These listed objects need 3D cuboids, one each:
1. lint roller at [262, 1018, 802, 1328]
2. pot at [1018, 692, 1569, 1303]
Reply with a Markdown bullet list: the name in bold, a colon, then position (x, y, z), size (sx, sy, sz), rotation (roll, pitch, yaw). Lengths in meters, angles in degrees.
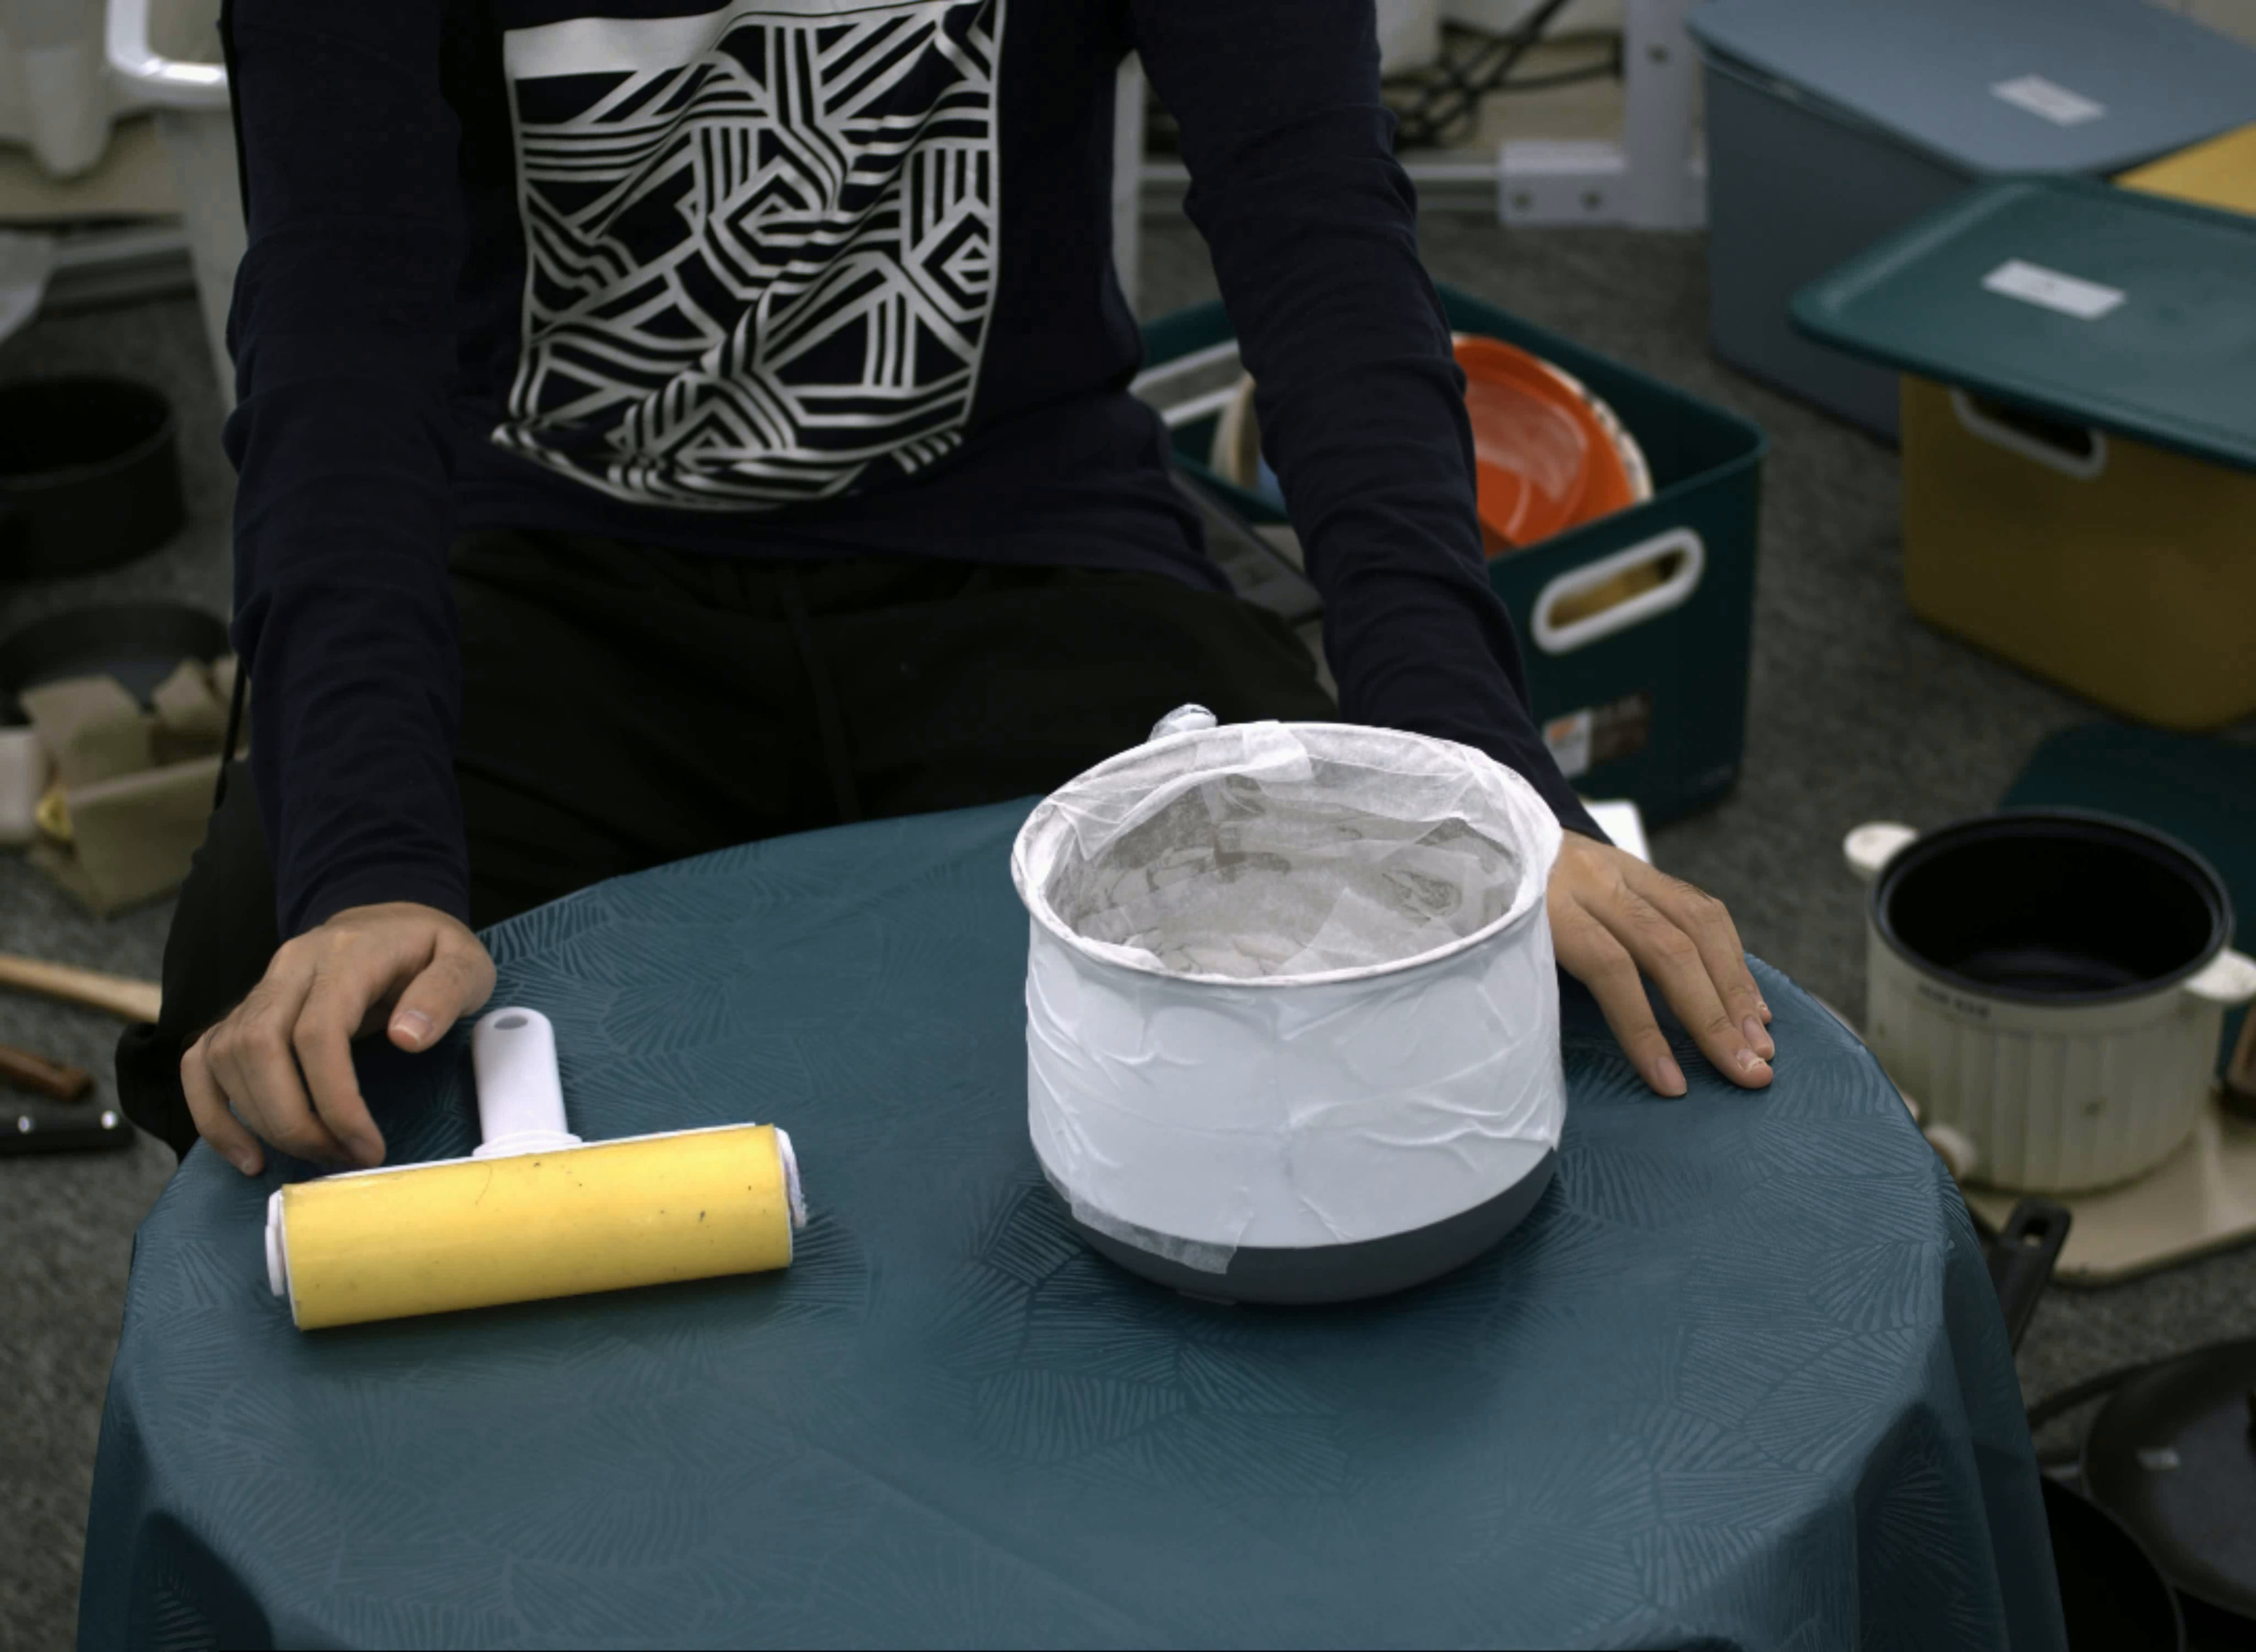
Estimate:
- **lint roller**: position (-0.205, 0.098, 1.875), size (0.174, 0.051, 0.194), rotation (-7, 29, -9)
- **pot**: position (0.044, 0.048, 1.847), size (0.179, 0.135, 0.236), rotation (-10, 29, -17)
